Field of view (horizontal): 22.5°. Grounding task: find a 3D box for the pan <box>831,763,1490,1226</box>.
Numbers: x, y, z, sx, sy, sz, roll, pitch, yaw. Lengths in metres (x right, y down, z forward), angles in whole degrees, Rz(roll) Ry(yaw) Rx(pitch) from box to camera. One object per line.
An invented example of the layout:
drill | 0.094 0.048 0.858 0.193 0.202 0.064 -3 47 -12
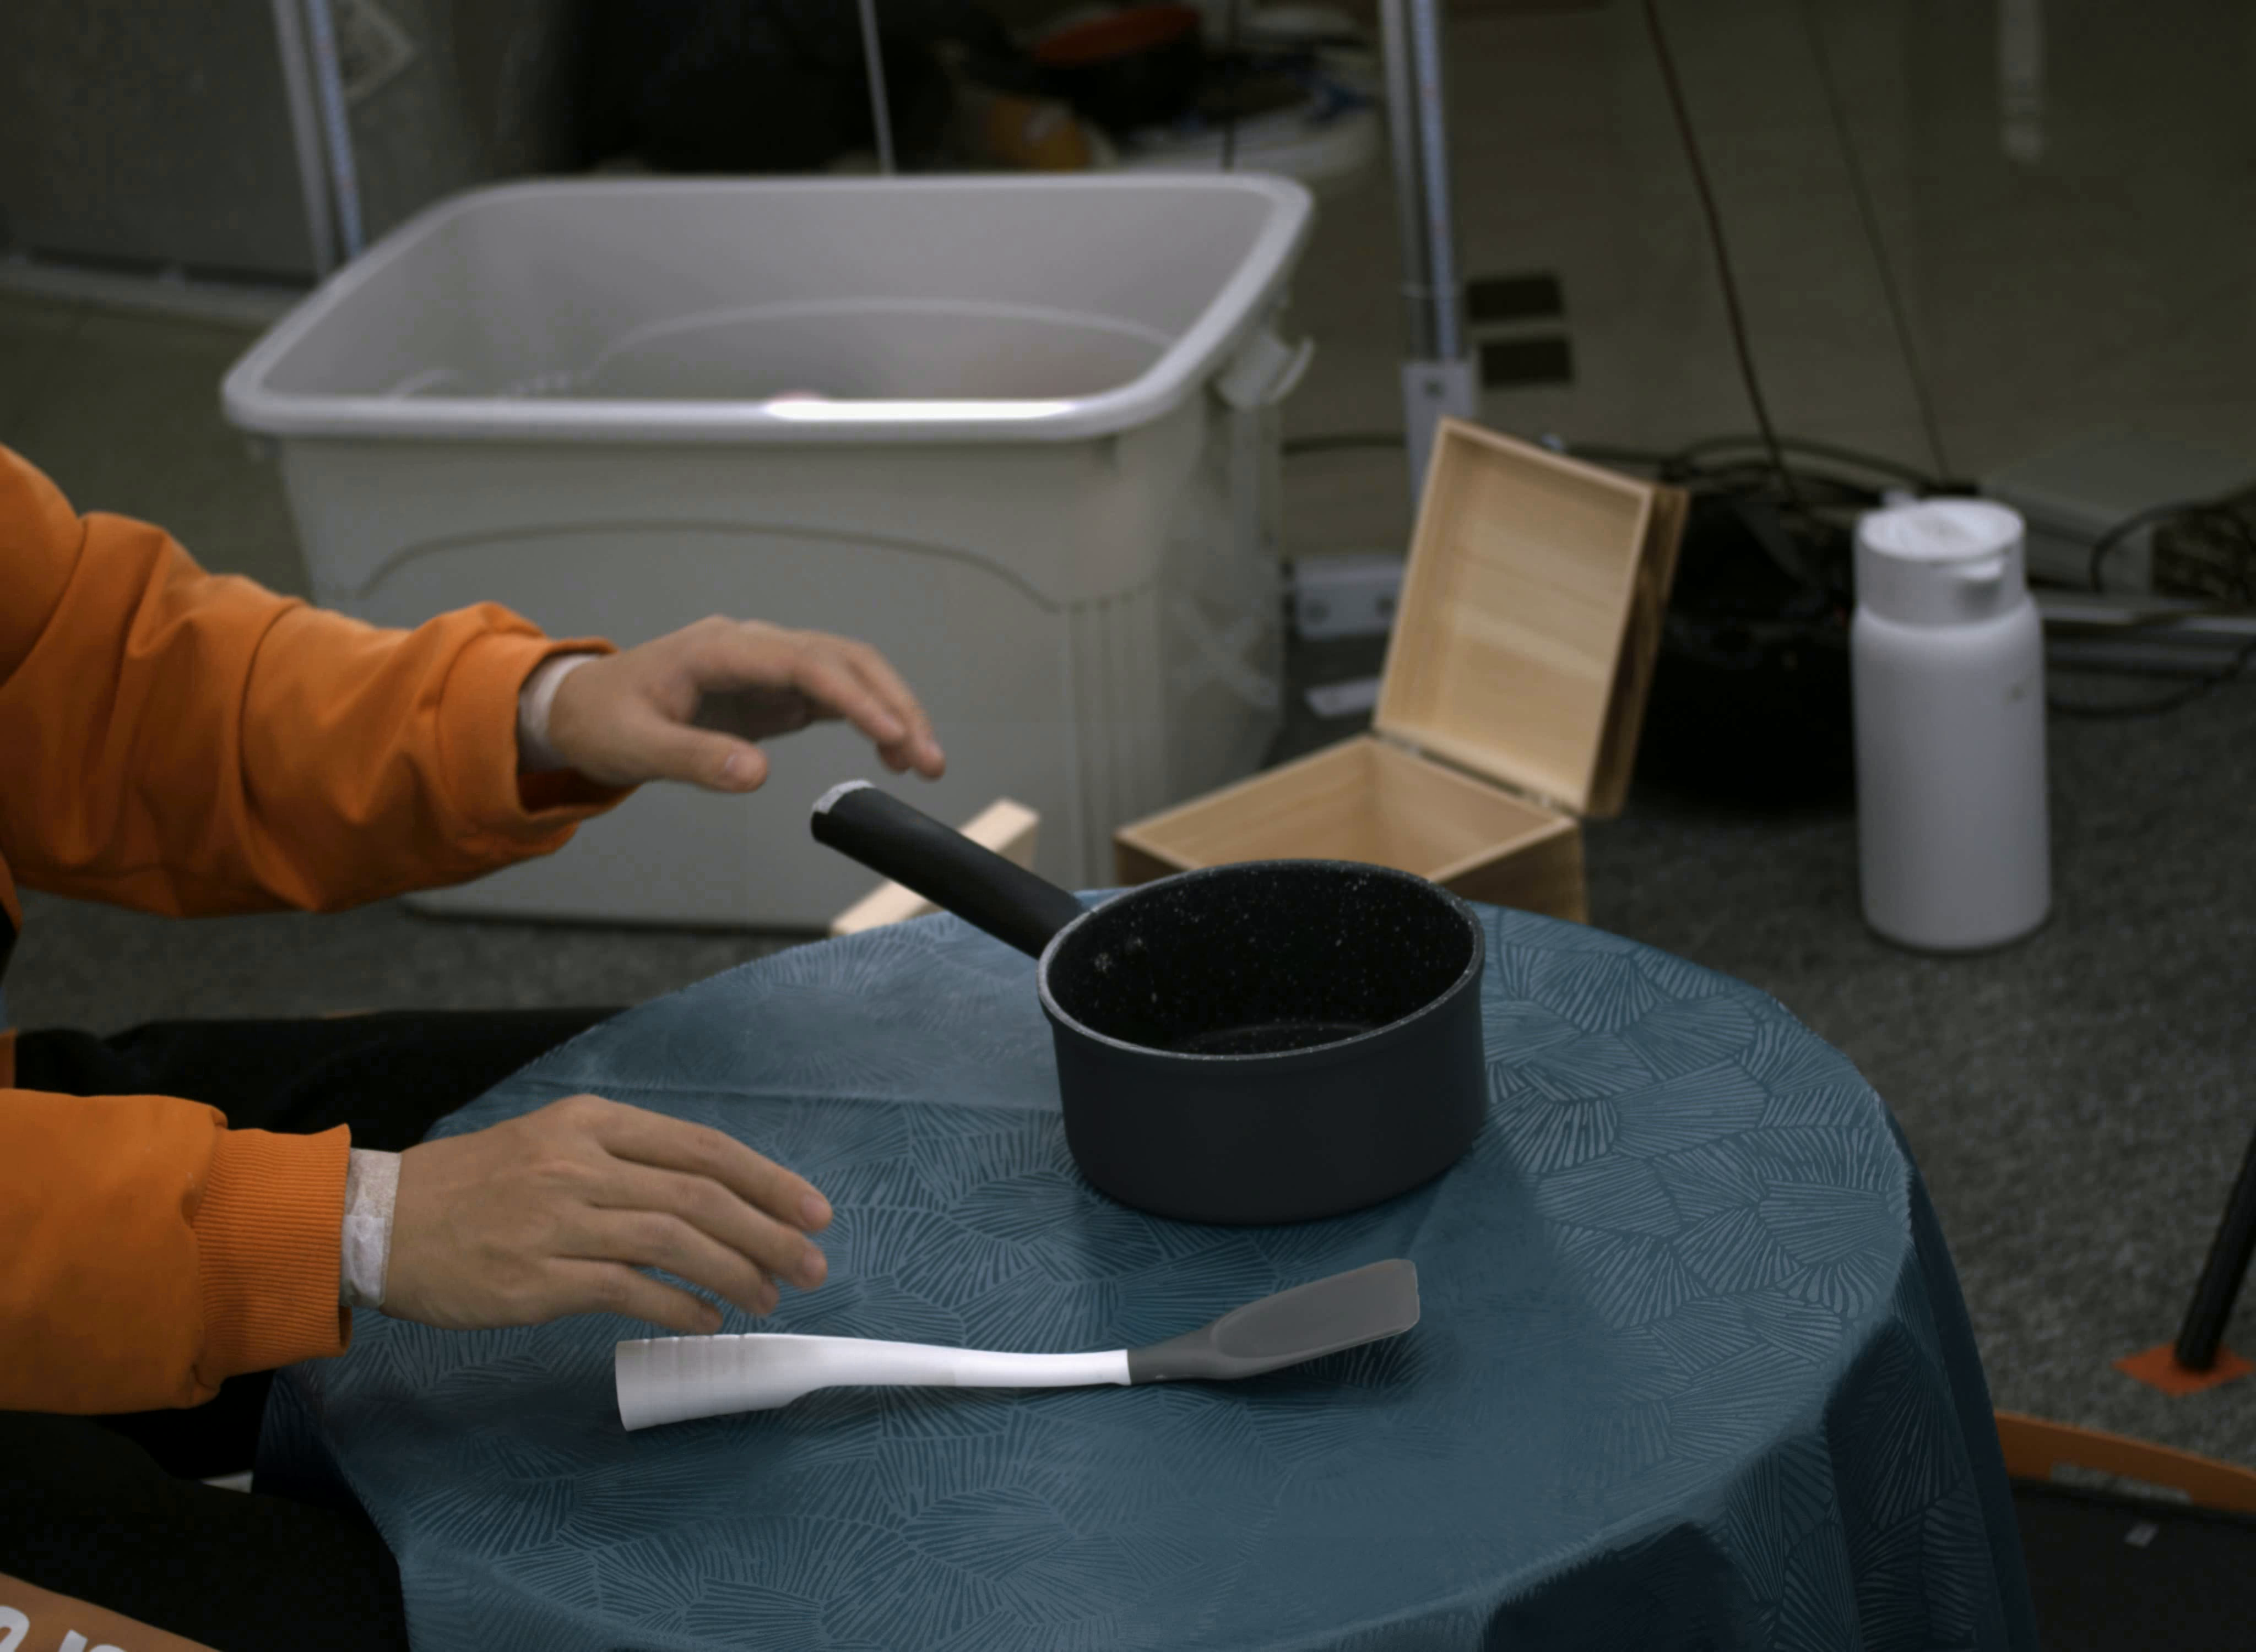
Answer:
pan | 0.000 0.059 2.216 0.170 0.088 0.326 -25 33 -36

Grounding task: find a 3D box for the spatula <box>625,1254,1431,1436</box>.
spatula | -0.035 0.186 2.016 0.287 0.032 0.058 -6 20 3
